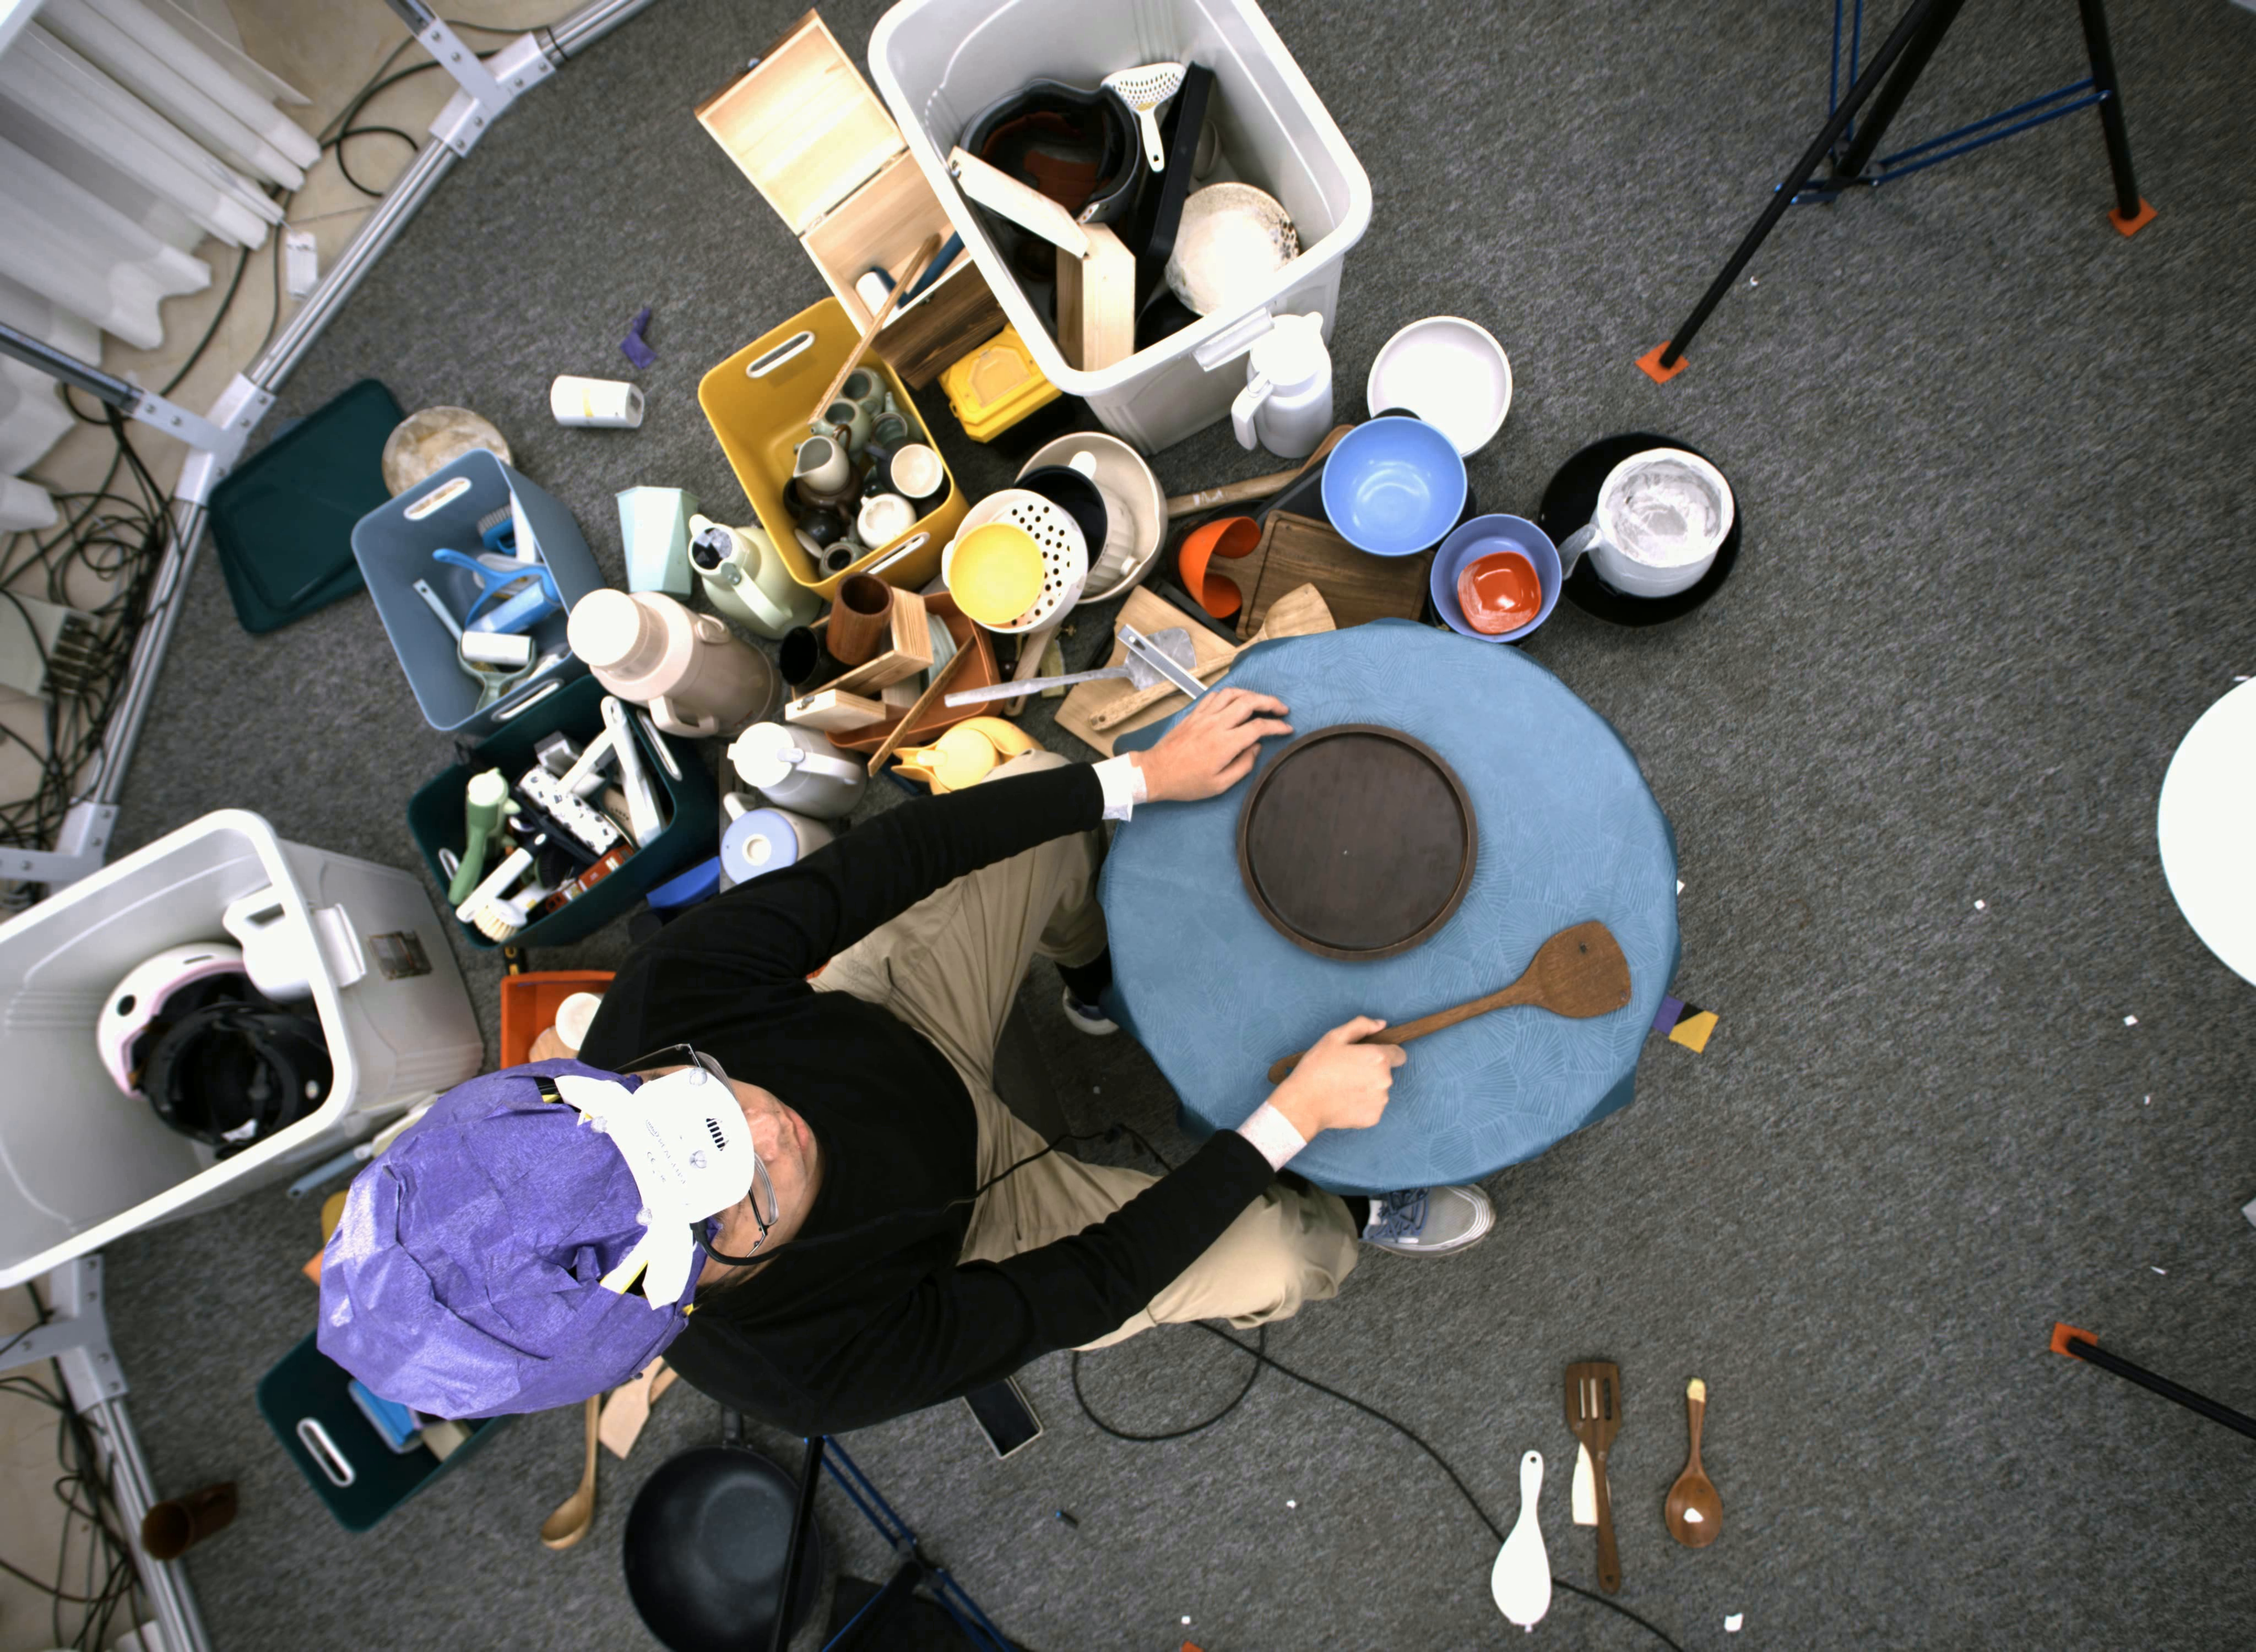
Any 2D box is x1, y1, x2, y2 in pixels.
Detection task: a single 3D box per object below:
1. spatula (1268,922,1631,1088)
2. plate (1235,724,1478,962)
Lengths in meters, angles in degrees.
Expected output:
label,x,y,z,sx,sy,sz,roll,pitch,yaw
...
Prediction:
label,x,y,z,sx,sy,sz,roll,pitch,yaw
spatula,0.328,0.198,1.425,0.387,0.016,0.095,-20,83,4
plate,0.240,0.016,1.458,0.256,0.029,0.254,-1,87,9
